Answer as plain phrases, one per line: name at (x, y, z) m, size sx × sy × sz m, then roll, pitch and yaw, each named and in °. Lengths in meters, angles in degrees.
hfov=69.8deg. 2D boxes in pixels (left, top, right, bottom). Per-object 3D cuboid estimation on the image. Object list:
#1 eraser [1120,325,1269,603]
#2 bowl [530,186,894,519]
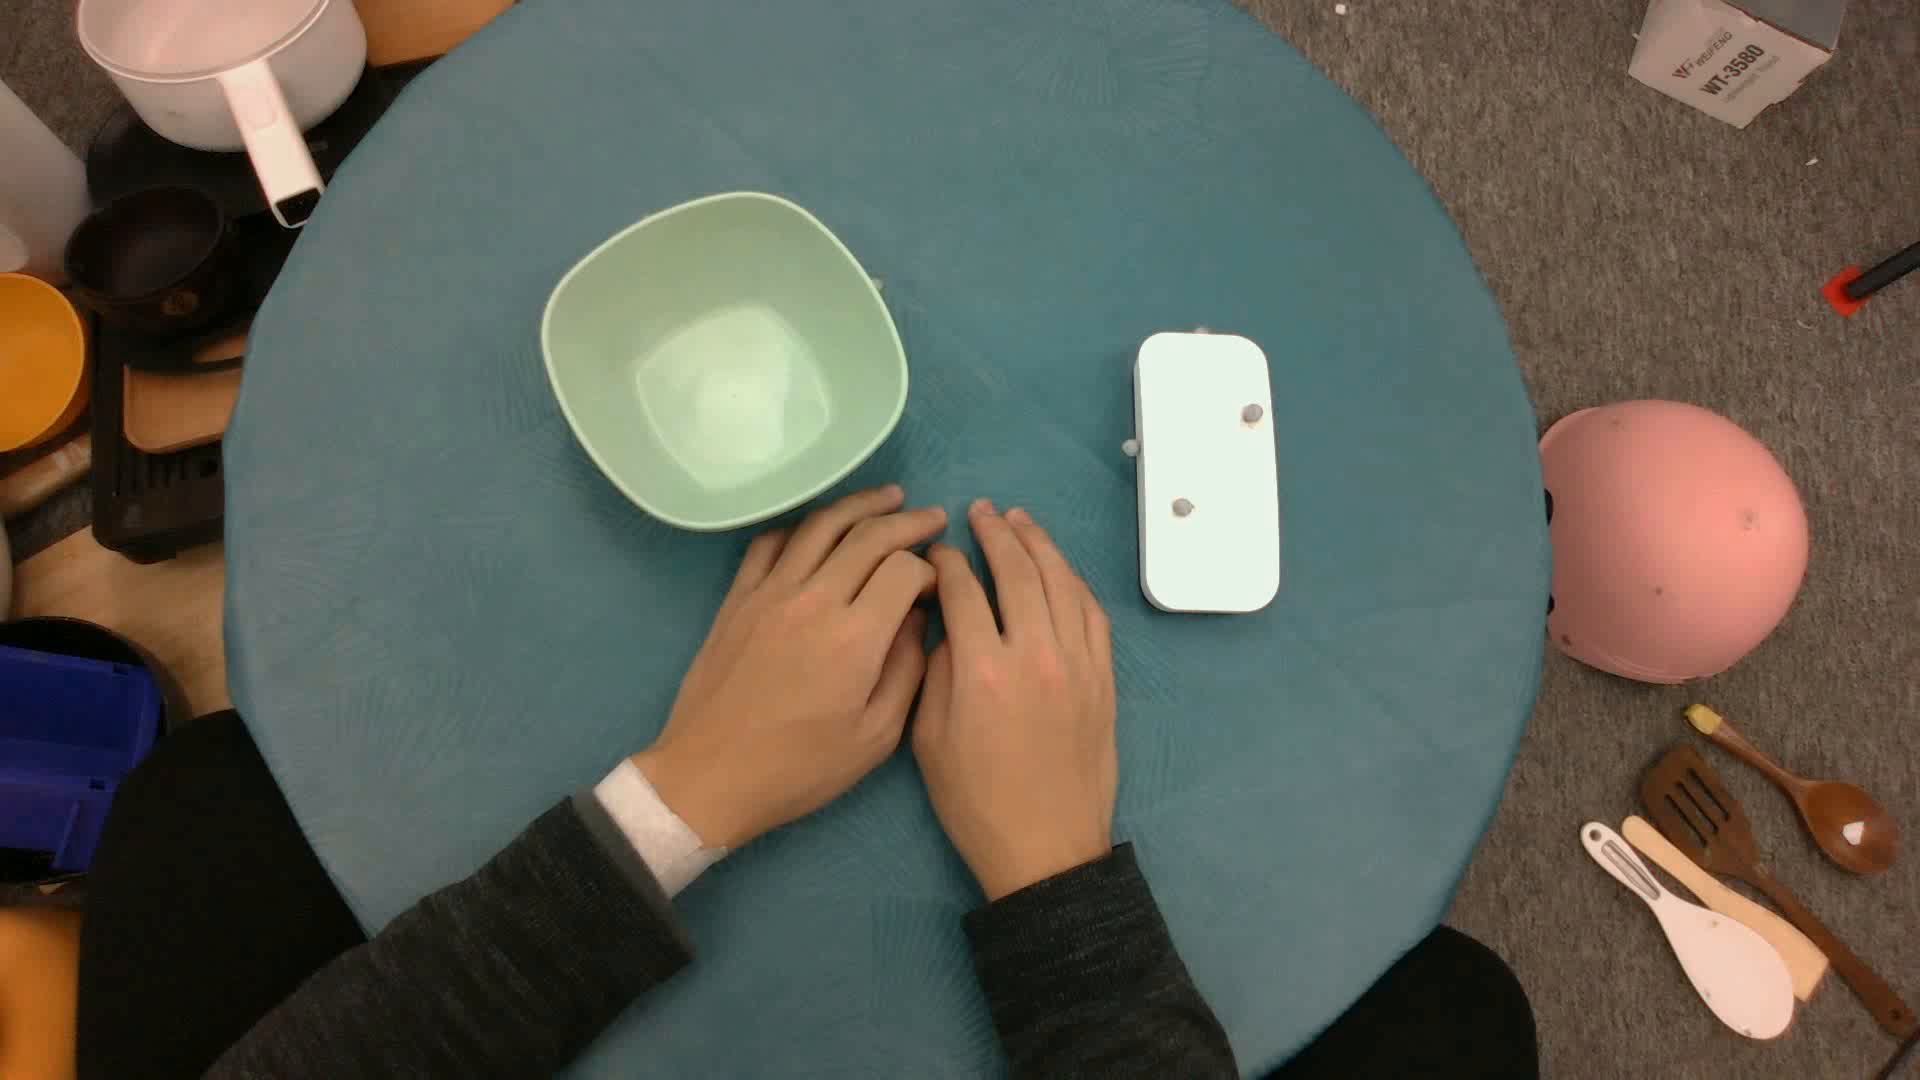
eraser at (0.104, -0.035, 0.629) m, size 0.063 × 0.034 × 0.131 m, roll 1°, pitch 74°, yaw -5°
bowl at (-0.105, -0.074, 0.596) m, size 0.151 × 0.058 × 0.152 m, roll 2°, pitch 74°, yaw -7°
